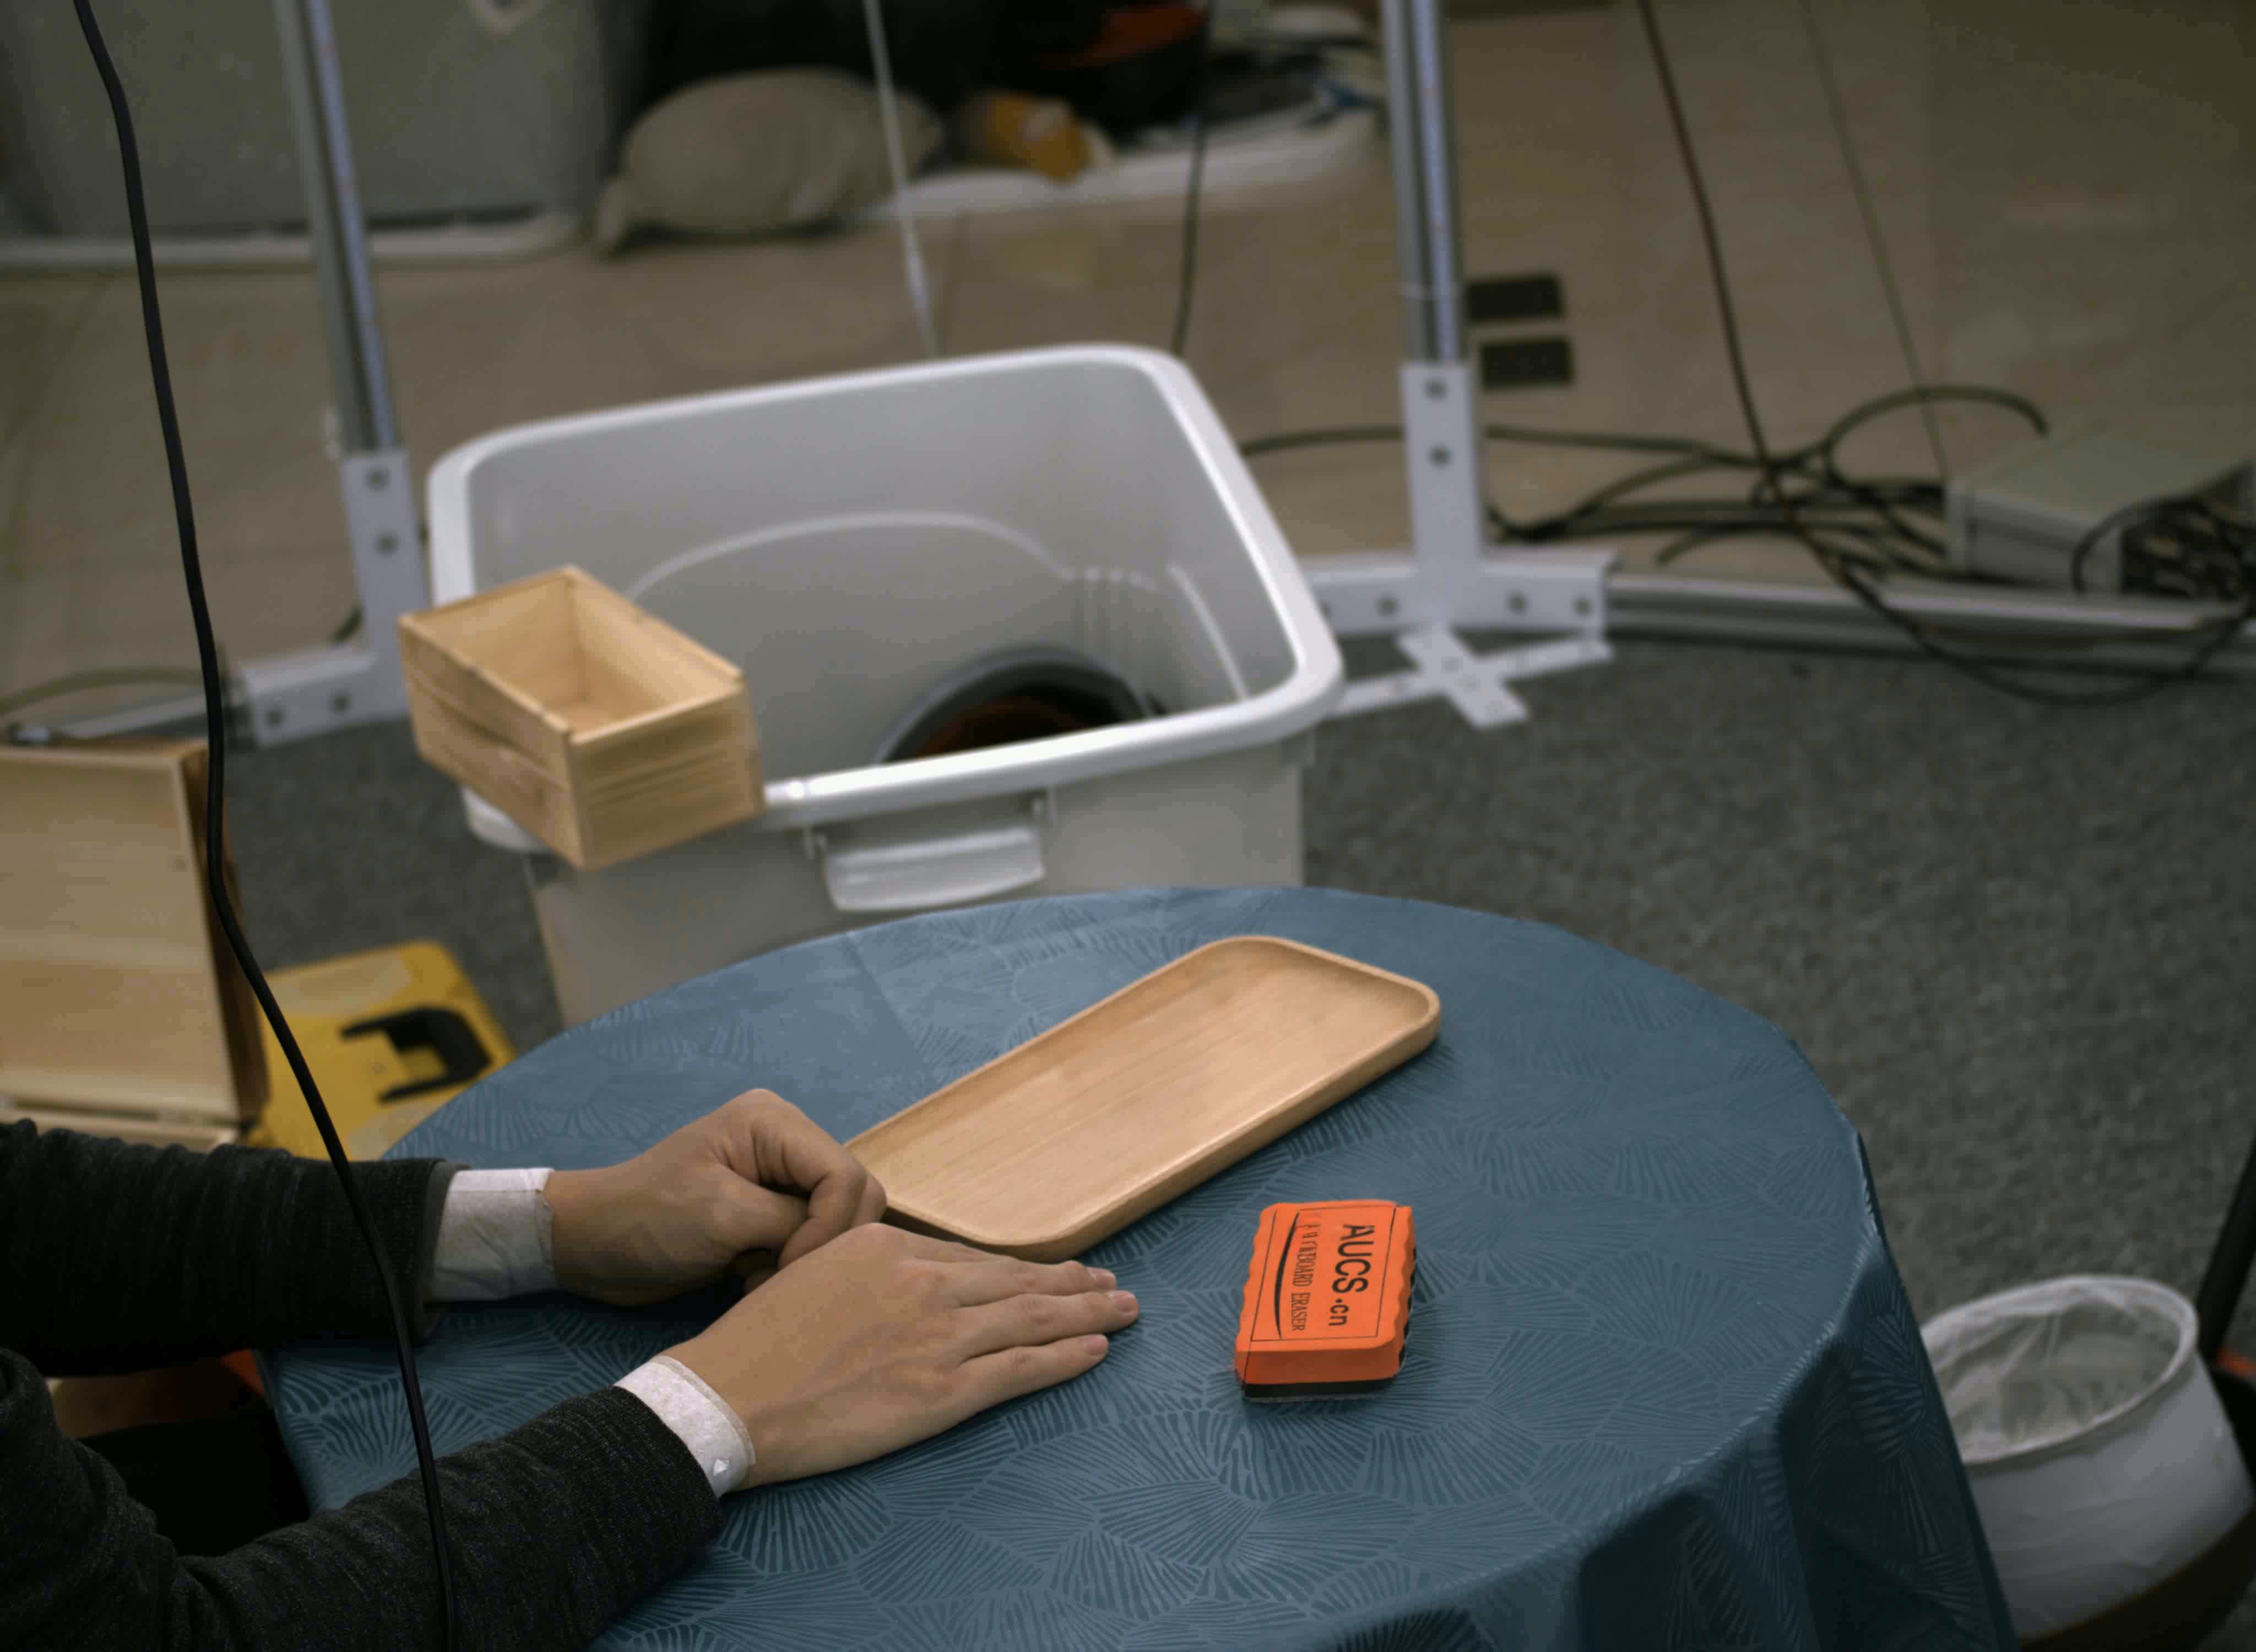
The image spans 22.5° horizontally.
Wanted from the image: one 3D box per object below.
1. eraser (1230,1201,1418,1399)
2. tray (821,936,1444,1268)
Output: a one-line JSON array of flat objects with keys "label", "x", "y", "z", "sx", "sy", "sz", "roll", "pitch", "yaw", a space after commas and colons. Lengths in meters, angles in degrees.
[{"label": "eraser", "x": 0.071, "y": 0.169, "z": 2.036, "sx": 0.059, "sy": 0.023, "sz": 0.106, "roll": -1, "pitch": 25, "yaw": 9}, {"label": "tray", "x": 0.004, "y": 0.105, "z": 2.198, "sx": 0.248, "sy": 0.023, "sz": 0.129, "roll": -27, "pitch": 30, "yaw": -37}]
